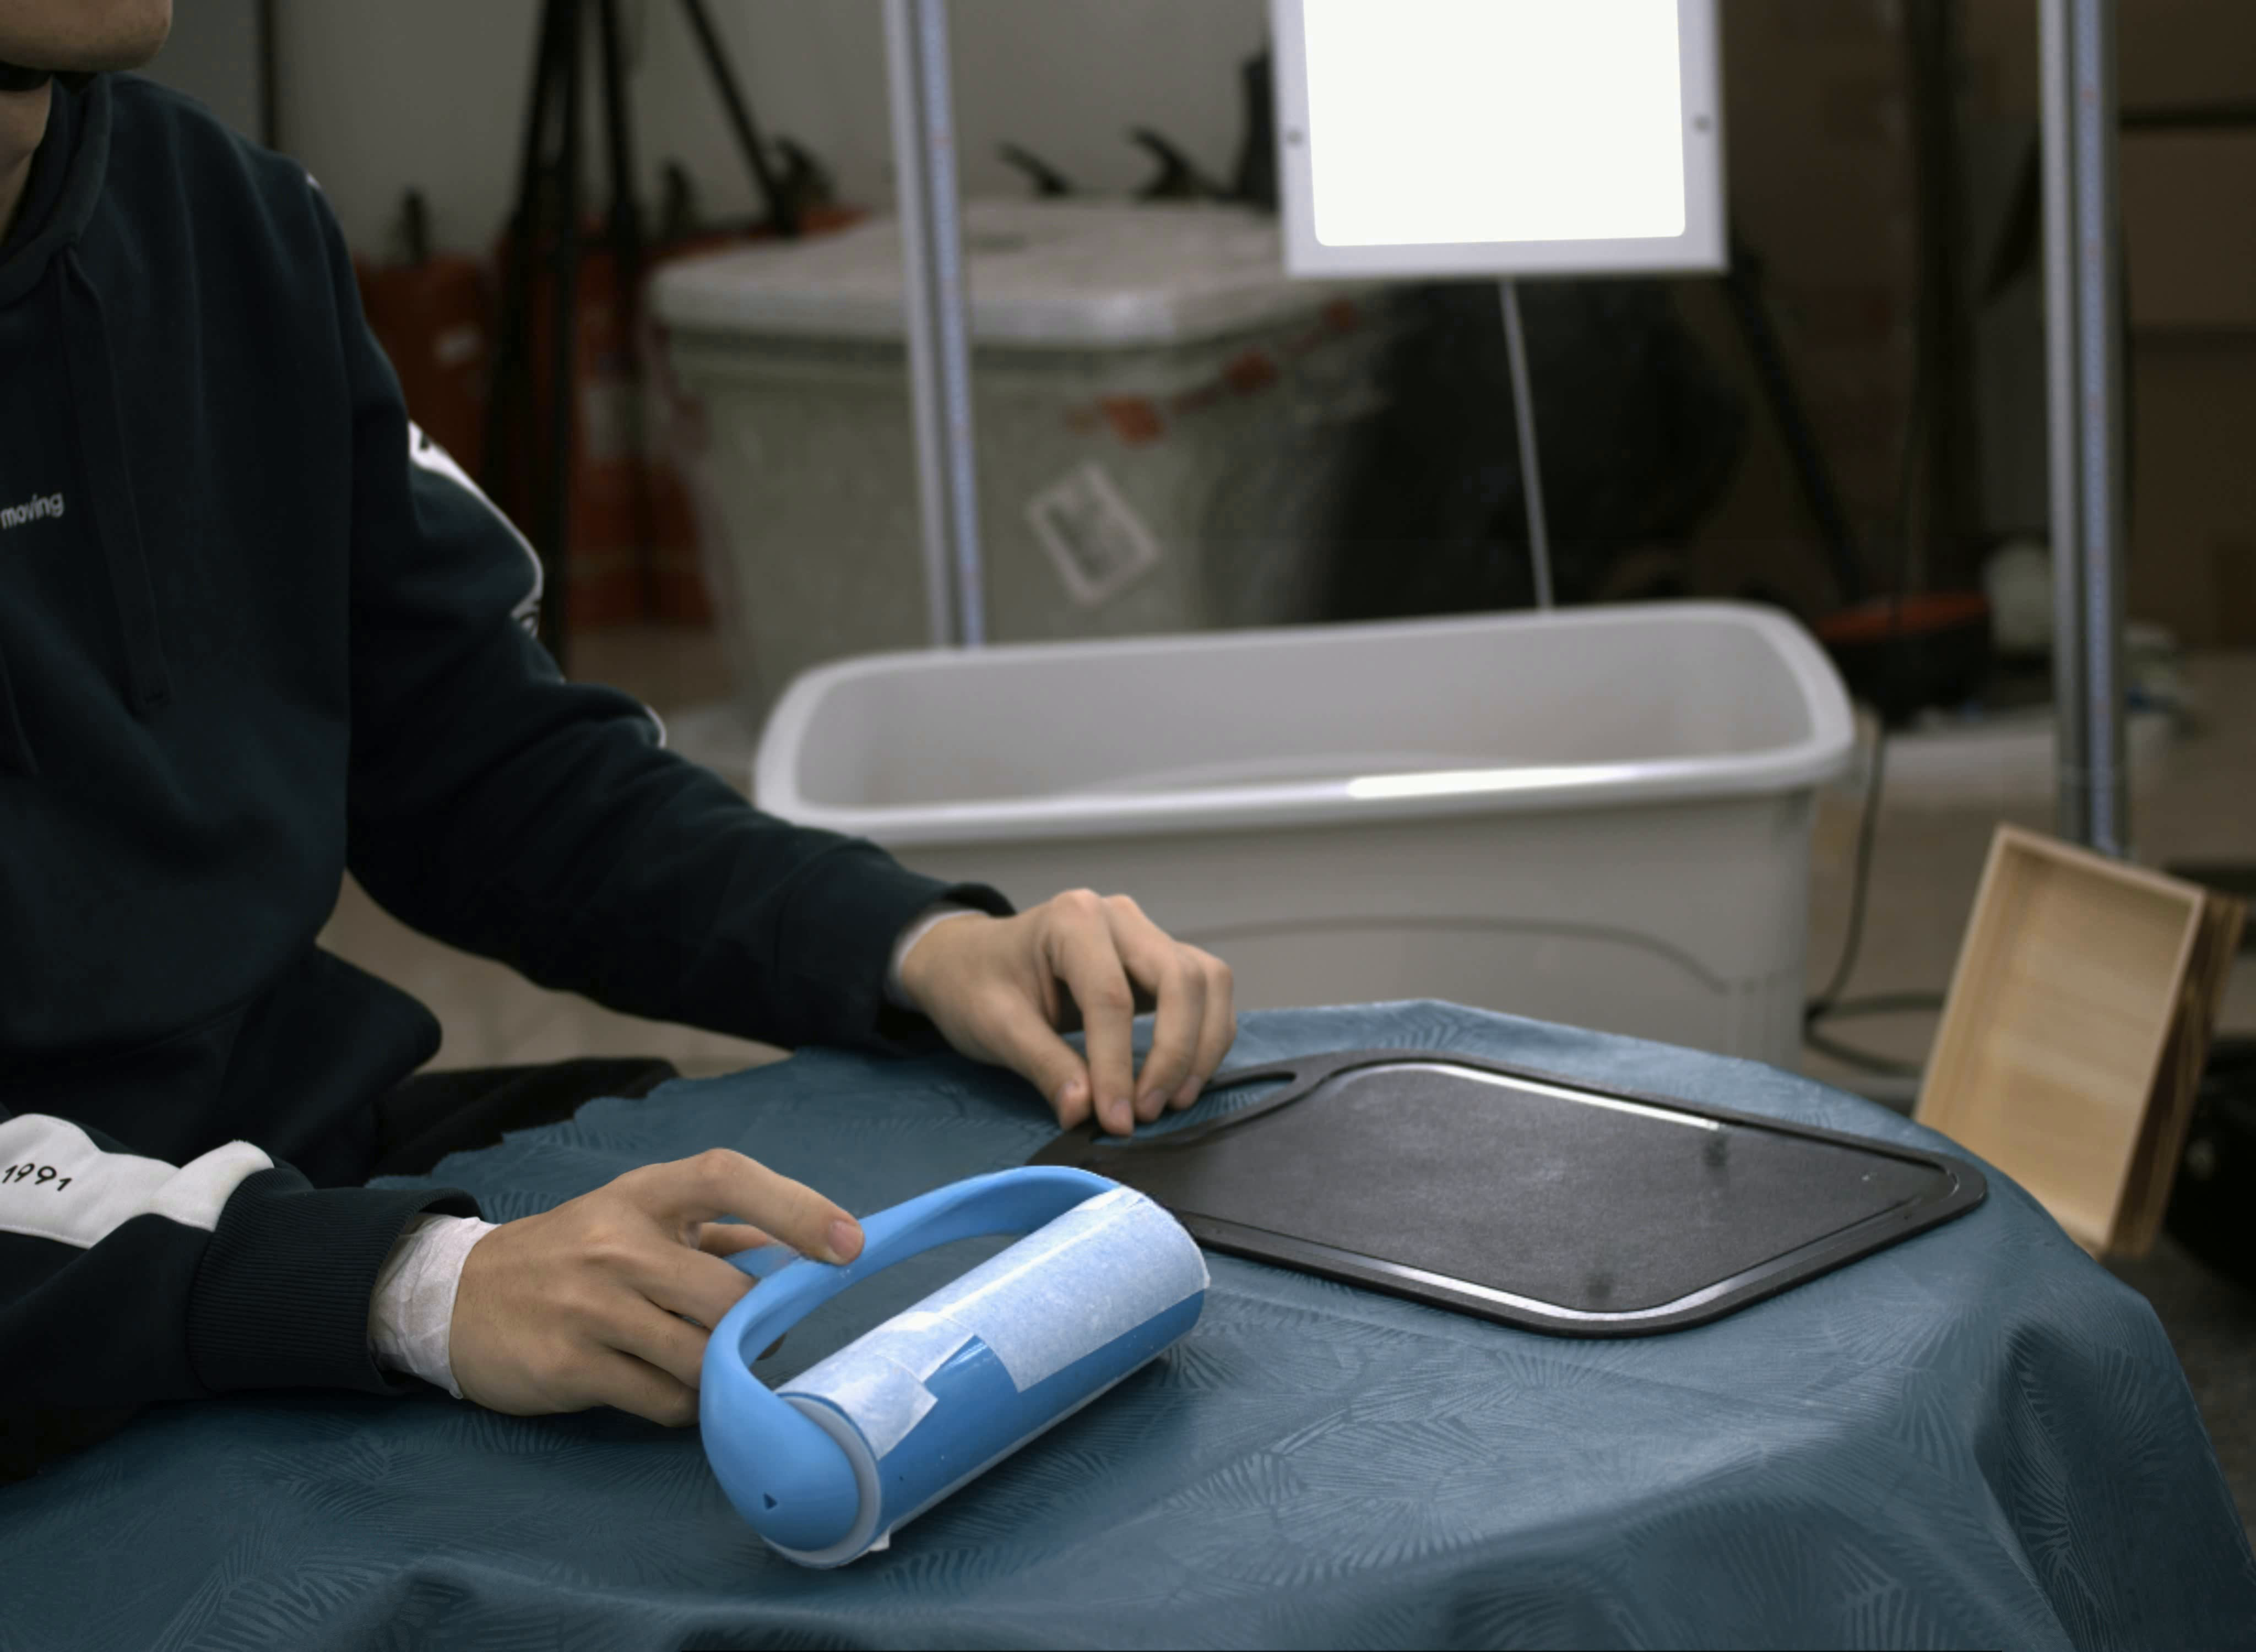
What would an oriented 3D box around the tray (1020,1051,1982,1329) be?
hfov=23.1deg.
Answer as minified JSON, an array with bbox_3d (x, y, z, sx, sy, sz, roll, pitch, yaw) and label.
[{"bbox_3d":[0.117,0.118,1.871,0.206,0.010,0.332,-17,18,-39],"label":"tray"}]

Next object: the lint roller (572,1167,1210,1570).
[{"bbox_3d":[-0.096,0.159,1.679,0.183,0.068,0.224,4,18,28],"label":"lint roller"}]
